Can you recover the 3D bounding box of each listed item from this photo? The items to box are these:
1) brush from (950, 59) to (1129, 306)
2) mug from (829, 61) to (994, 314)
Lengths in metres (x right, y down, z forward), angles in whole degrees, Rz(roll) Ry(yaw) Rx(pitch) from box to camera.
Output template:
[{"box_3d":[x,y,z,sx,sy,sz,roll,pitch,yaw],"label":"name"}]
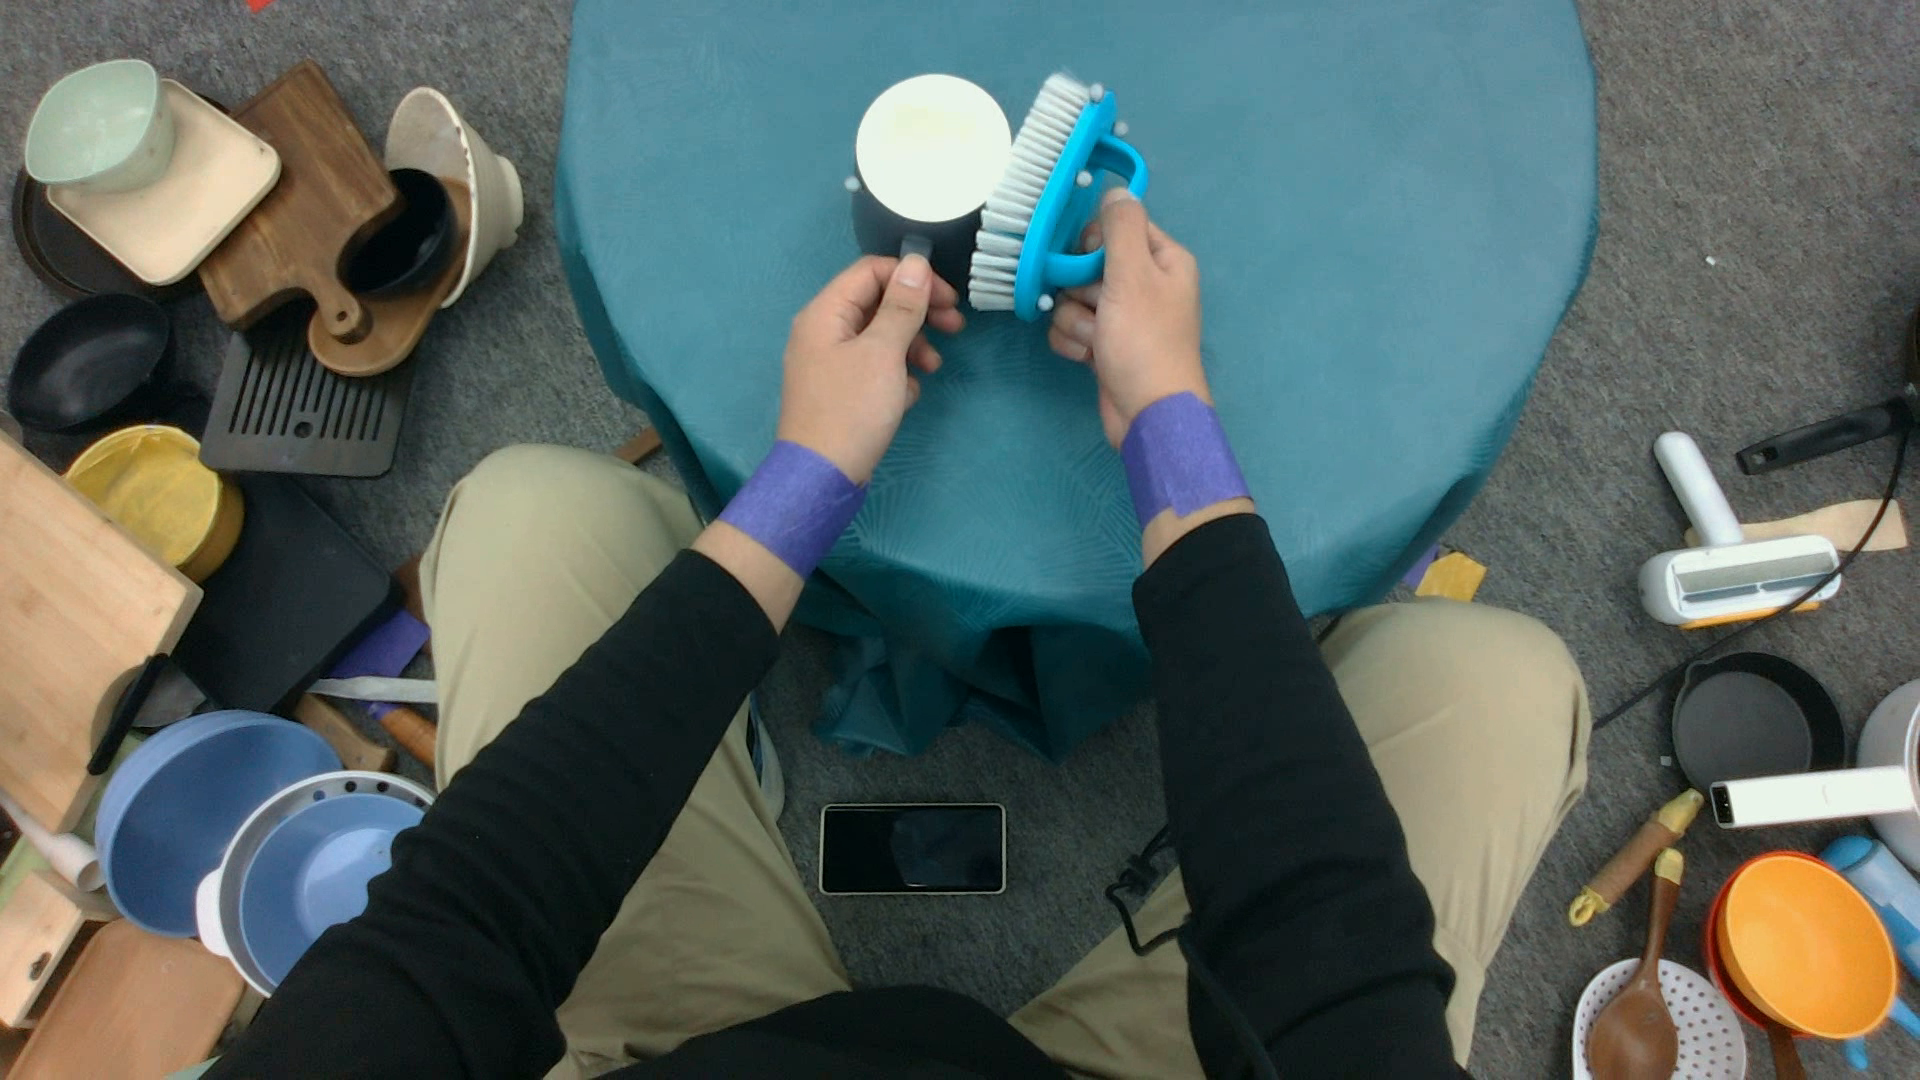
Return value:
[{"box_3d":[0.048,-0.179,0.710,0.064,0.084,0.142,19,61,8],"label":"brush"},{"box_3d":[-0.028,-0.180,0.730,0.093,0.089,0.123,12,75,2],"label":"mug"}]
